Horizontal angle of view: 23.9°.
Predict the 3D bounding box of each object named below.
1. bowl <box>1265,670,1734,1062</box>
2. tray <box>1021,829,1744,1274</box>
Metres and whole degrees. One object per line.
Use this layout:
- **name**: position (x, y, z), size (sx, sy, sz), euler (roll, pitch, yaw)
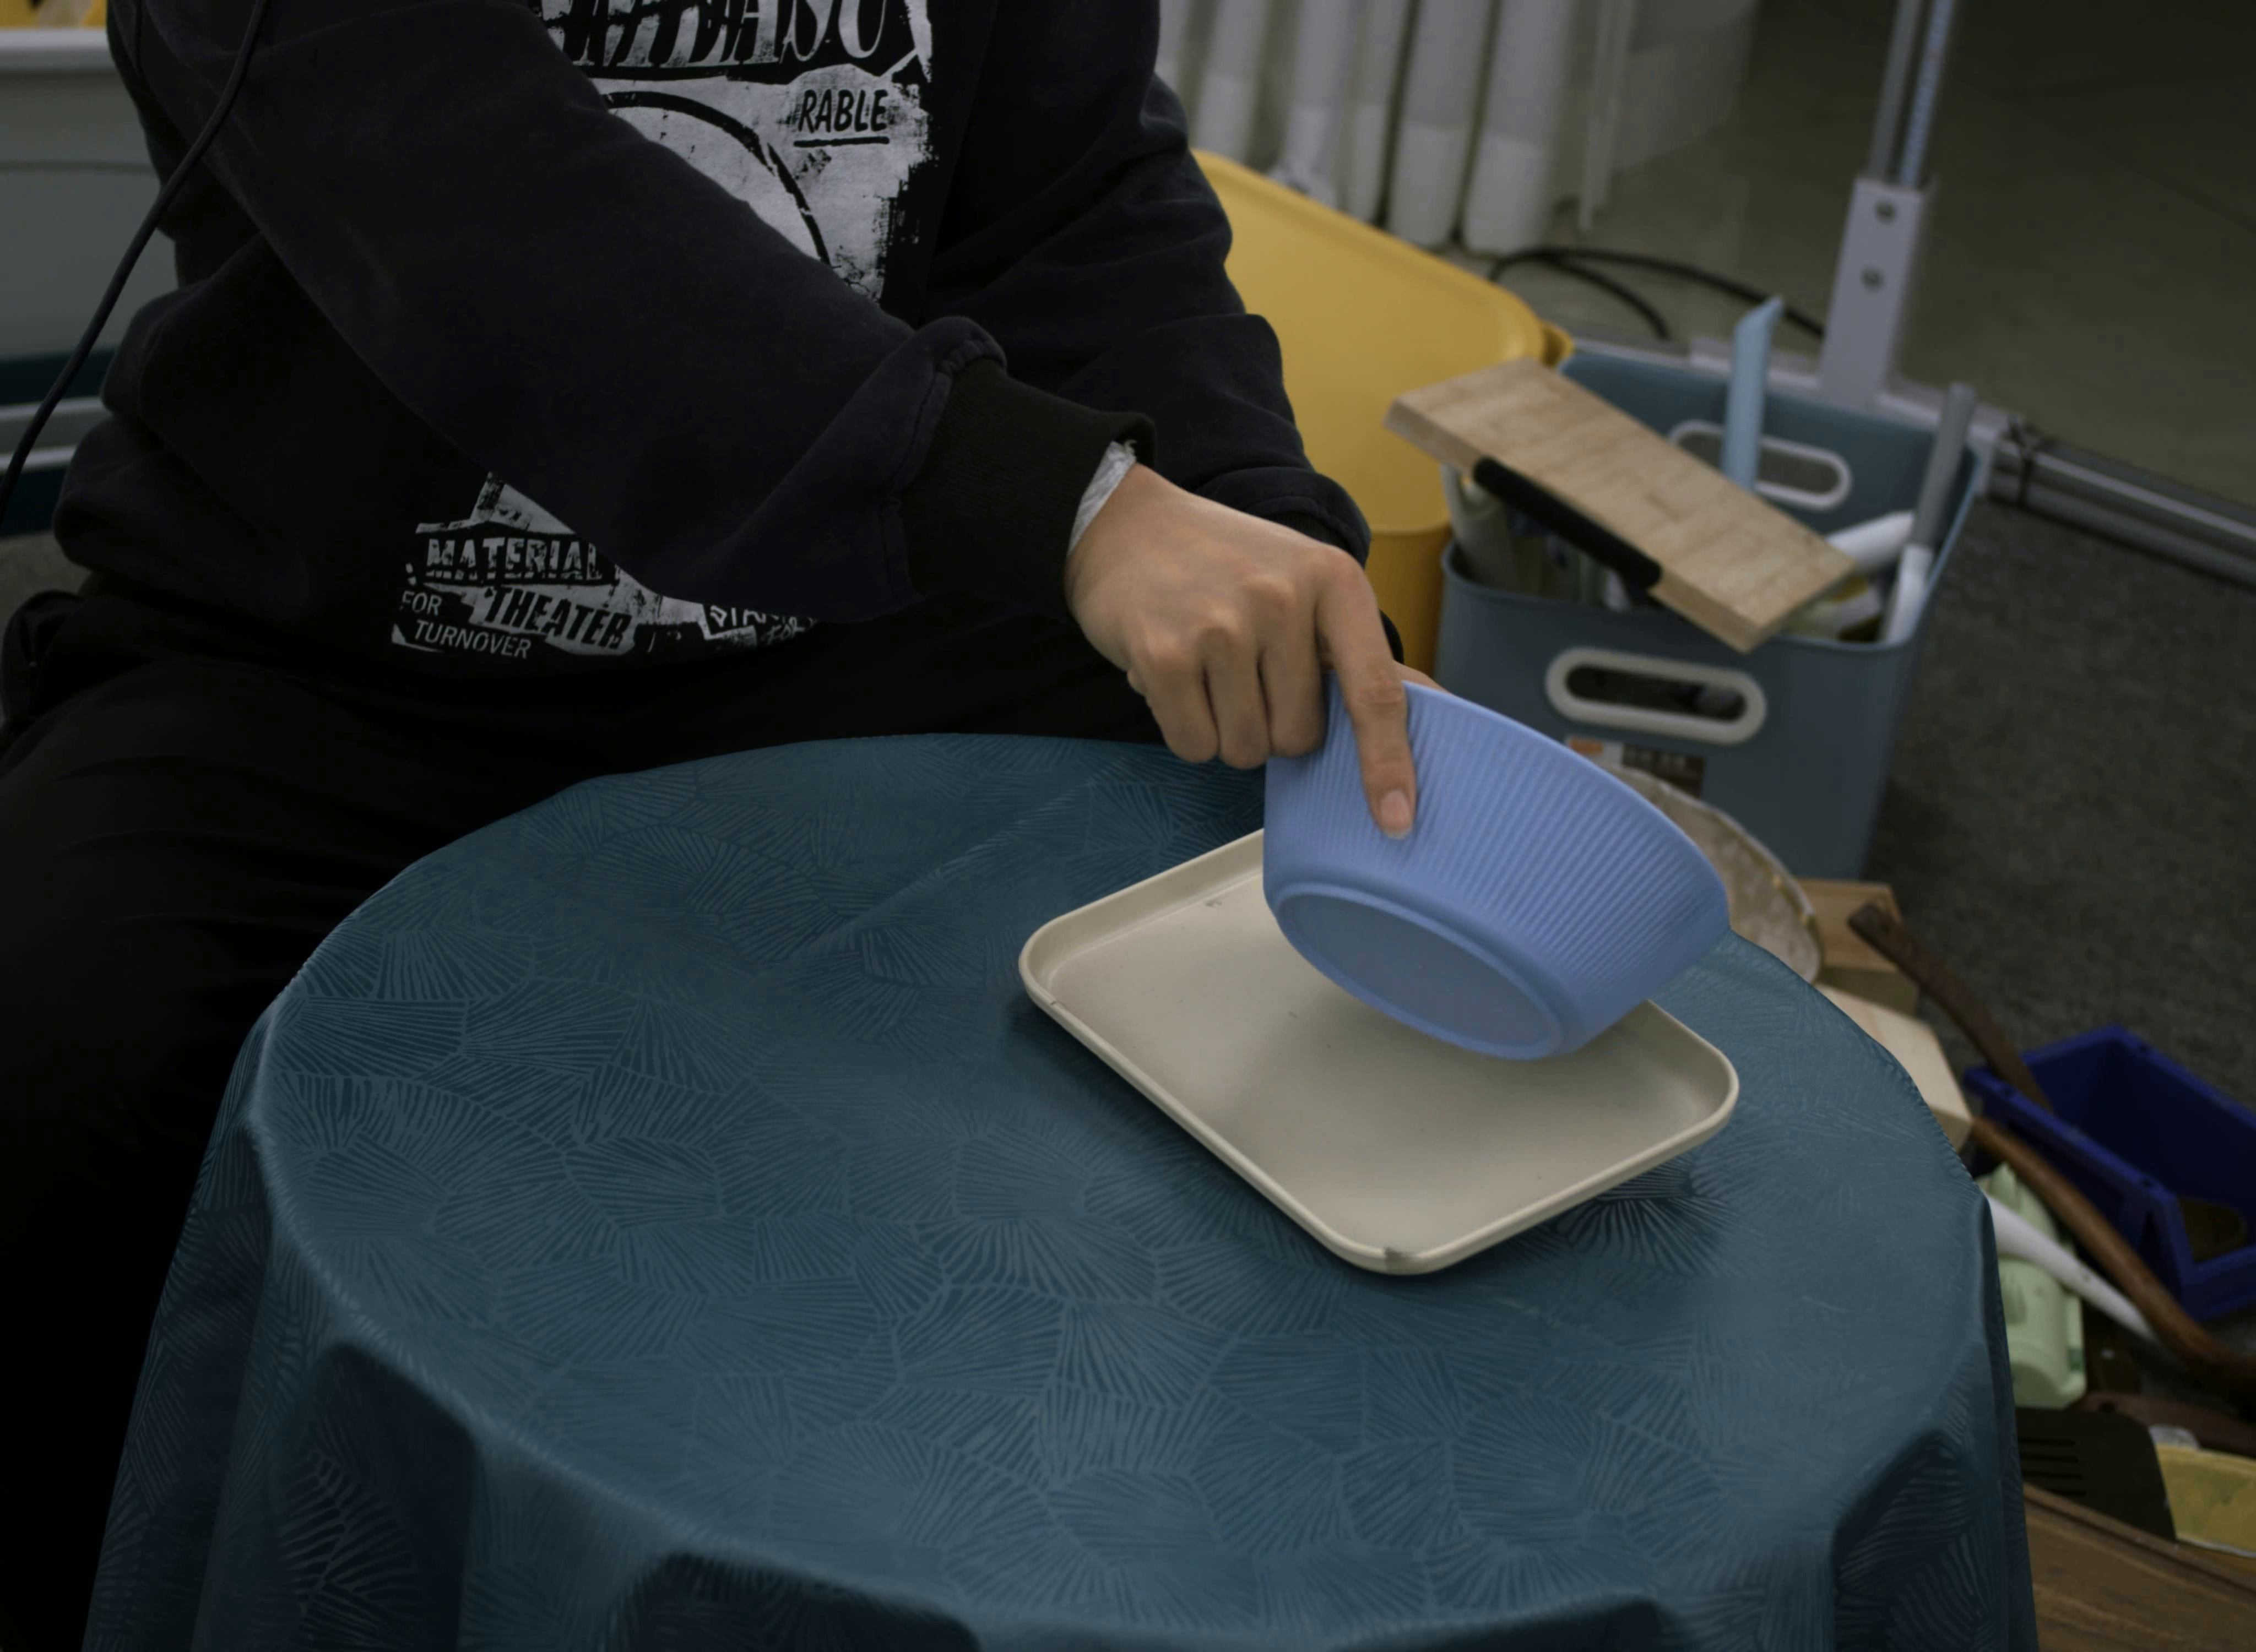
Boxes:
- **bowl**: position (0.113, 0.023, 1.810), size (0.177, 0.174, 0.070), euler (20, 69, 24)
- **tray**: position (0.087, 0.074, 1.867), size (0.170, 0.017, 0.242), euler (-22, 38, -27)
